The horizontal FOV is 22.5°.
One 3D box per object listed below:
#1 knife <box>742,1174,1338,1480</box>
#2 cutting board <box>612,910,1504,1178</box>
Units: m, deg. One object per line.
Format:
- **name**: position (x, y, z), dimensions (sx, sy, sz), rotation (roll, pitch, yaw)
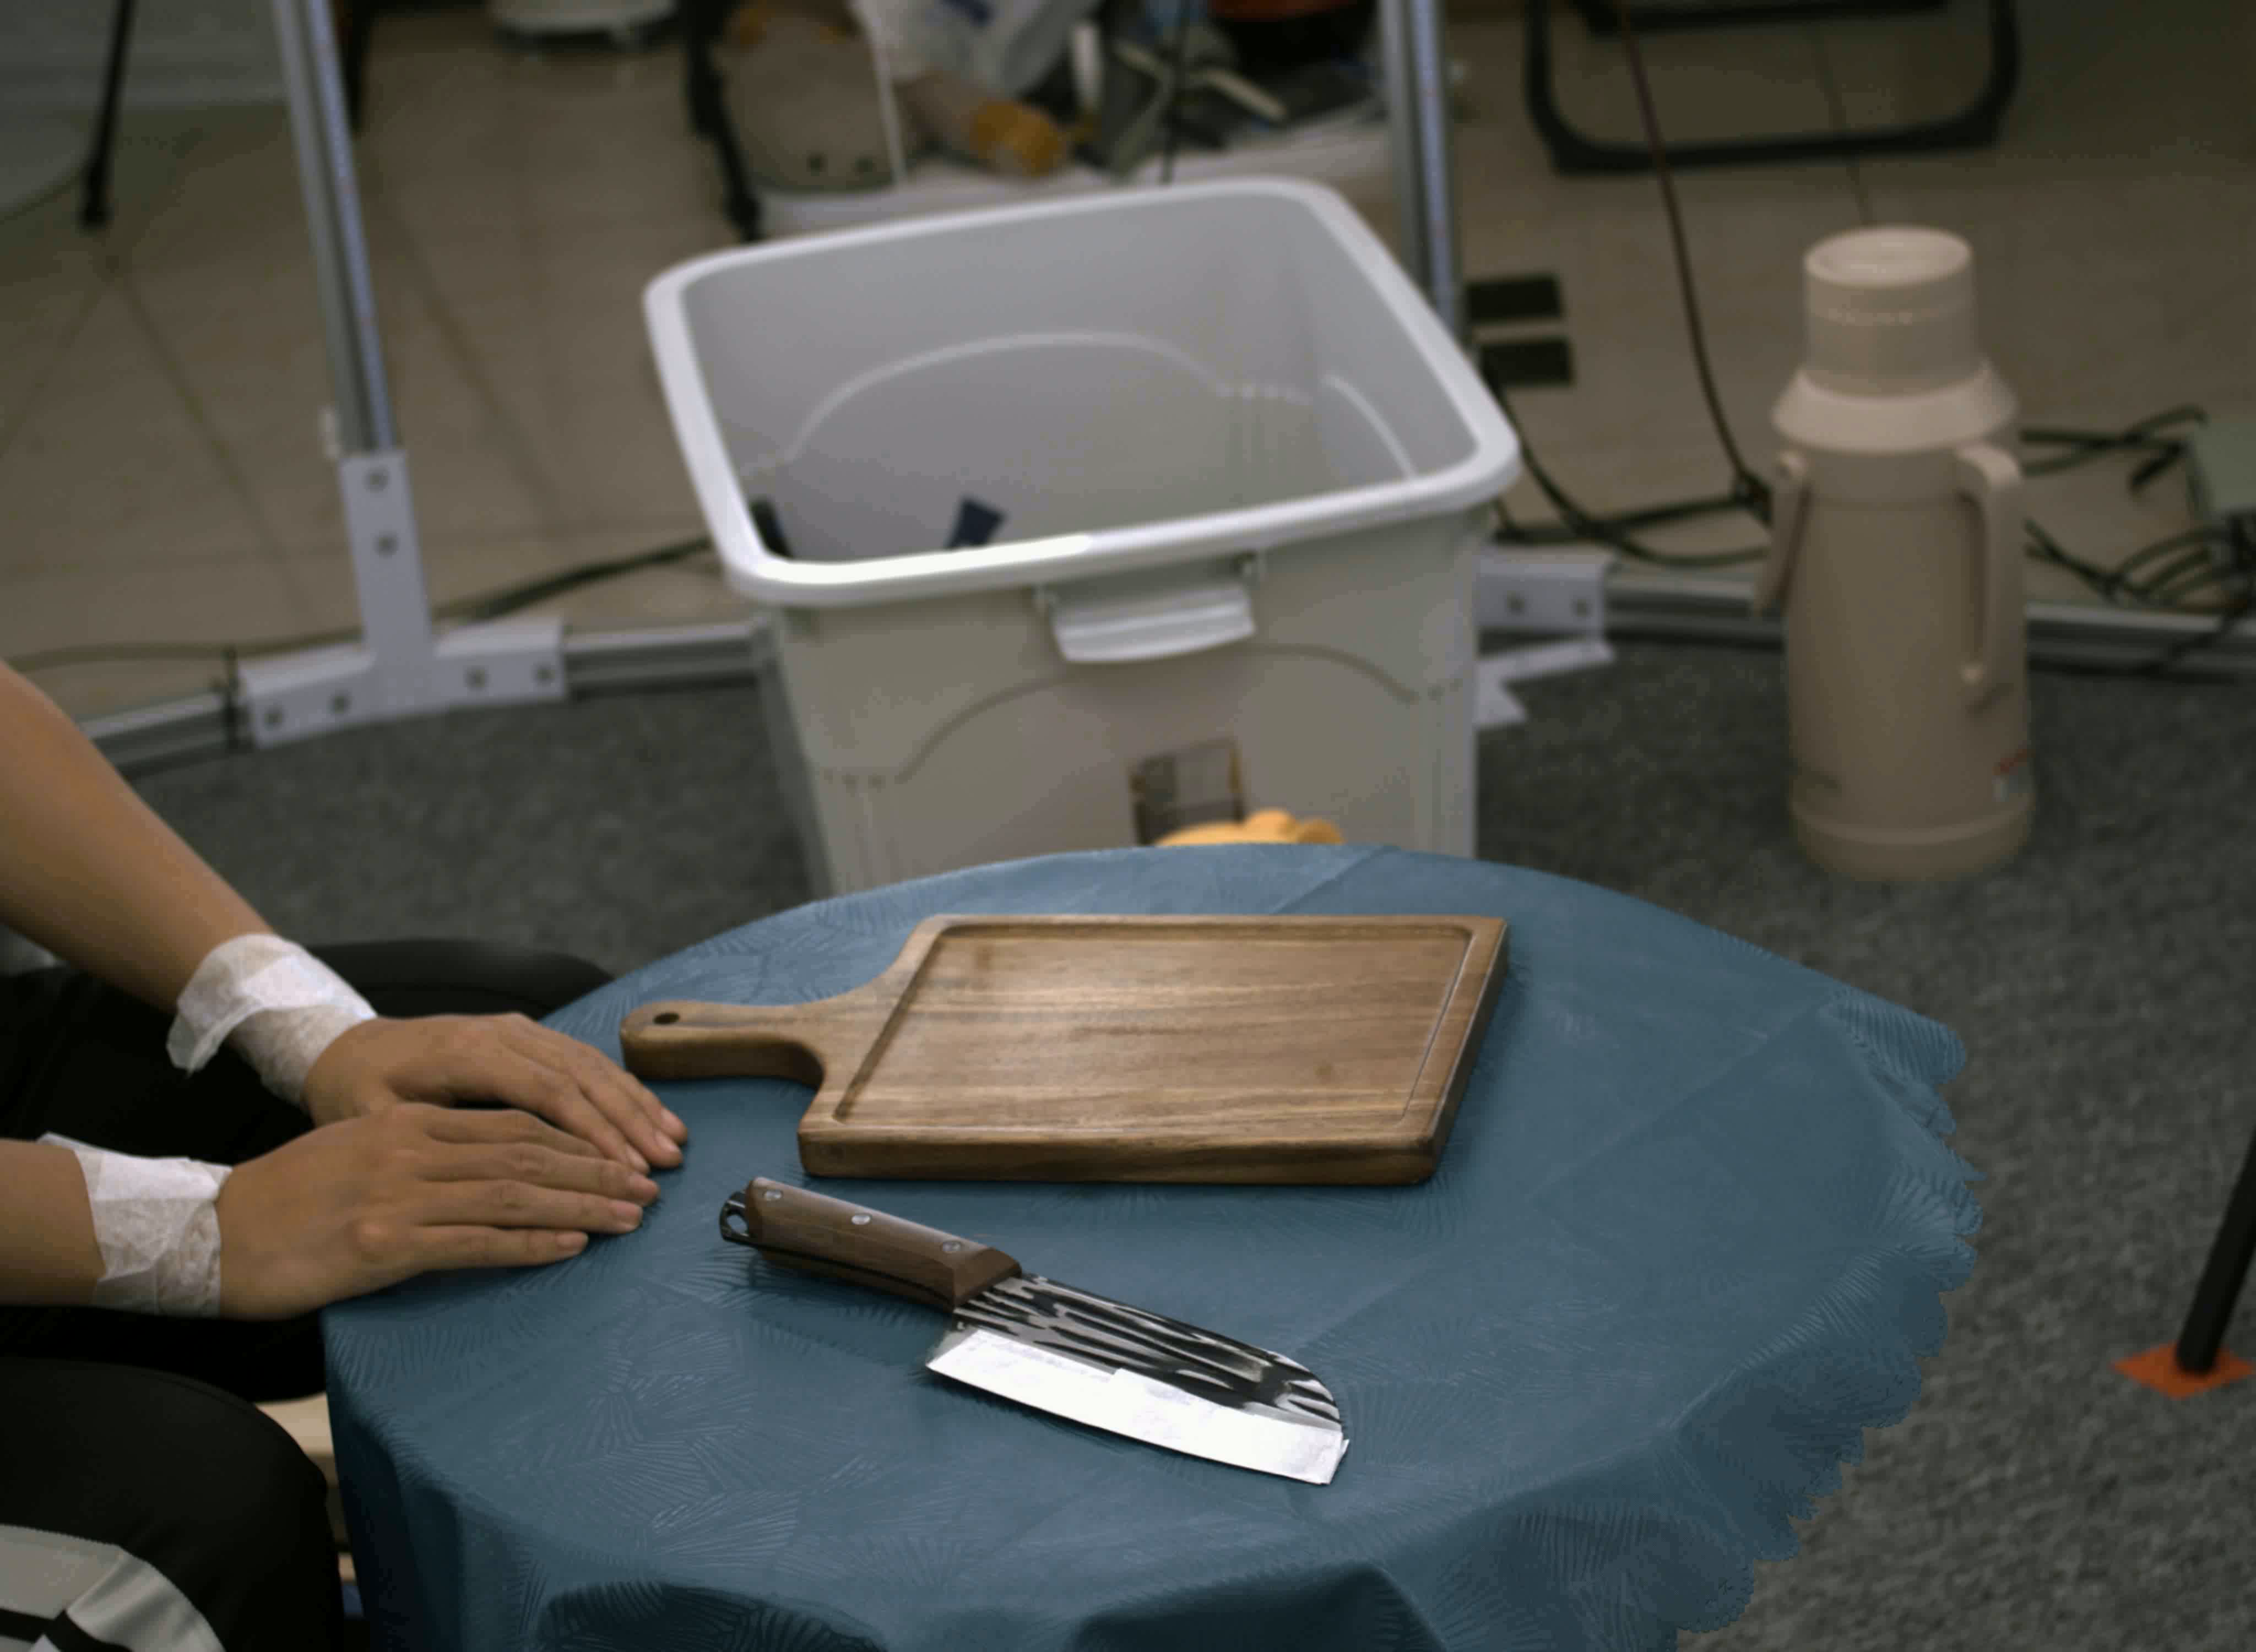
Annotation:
- **knife**: position (-0.039, 0.182, 2.047), dimensions (0.297, 0.024, 0.067), rotation (16, 36, 34)
- **cutting board**: position (-0.036, 0.085, 2.251), dimensions (0.351, 0.023, 0.198), rotation (-1, 25, 14)
